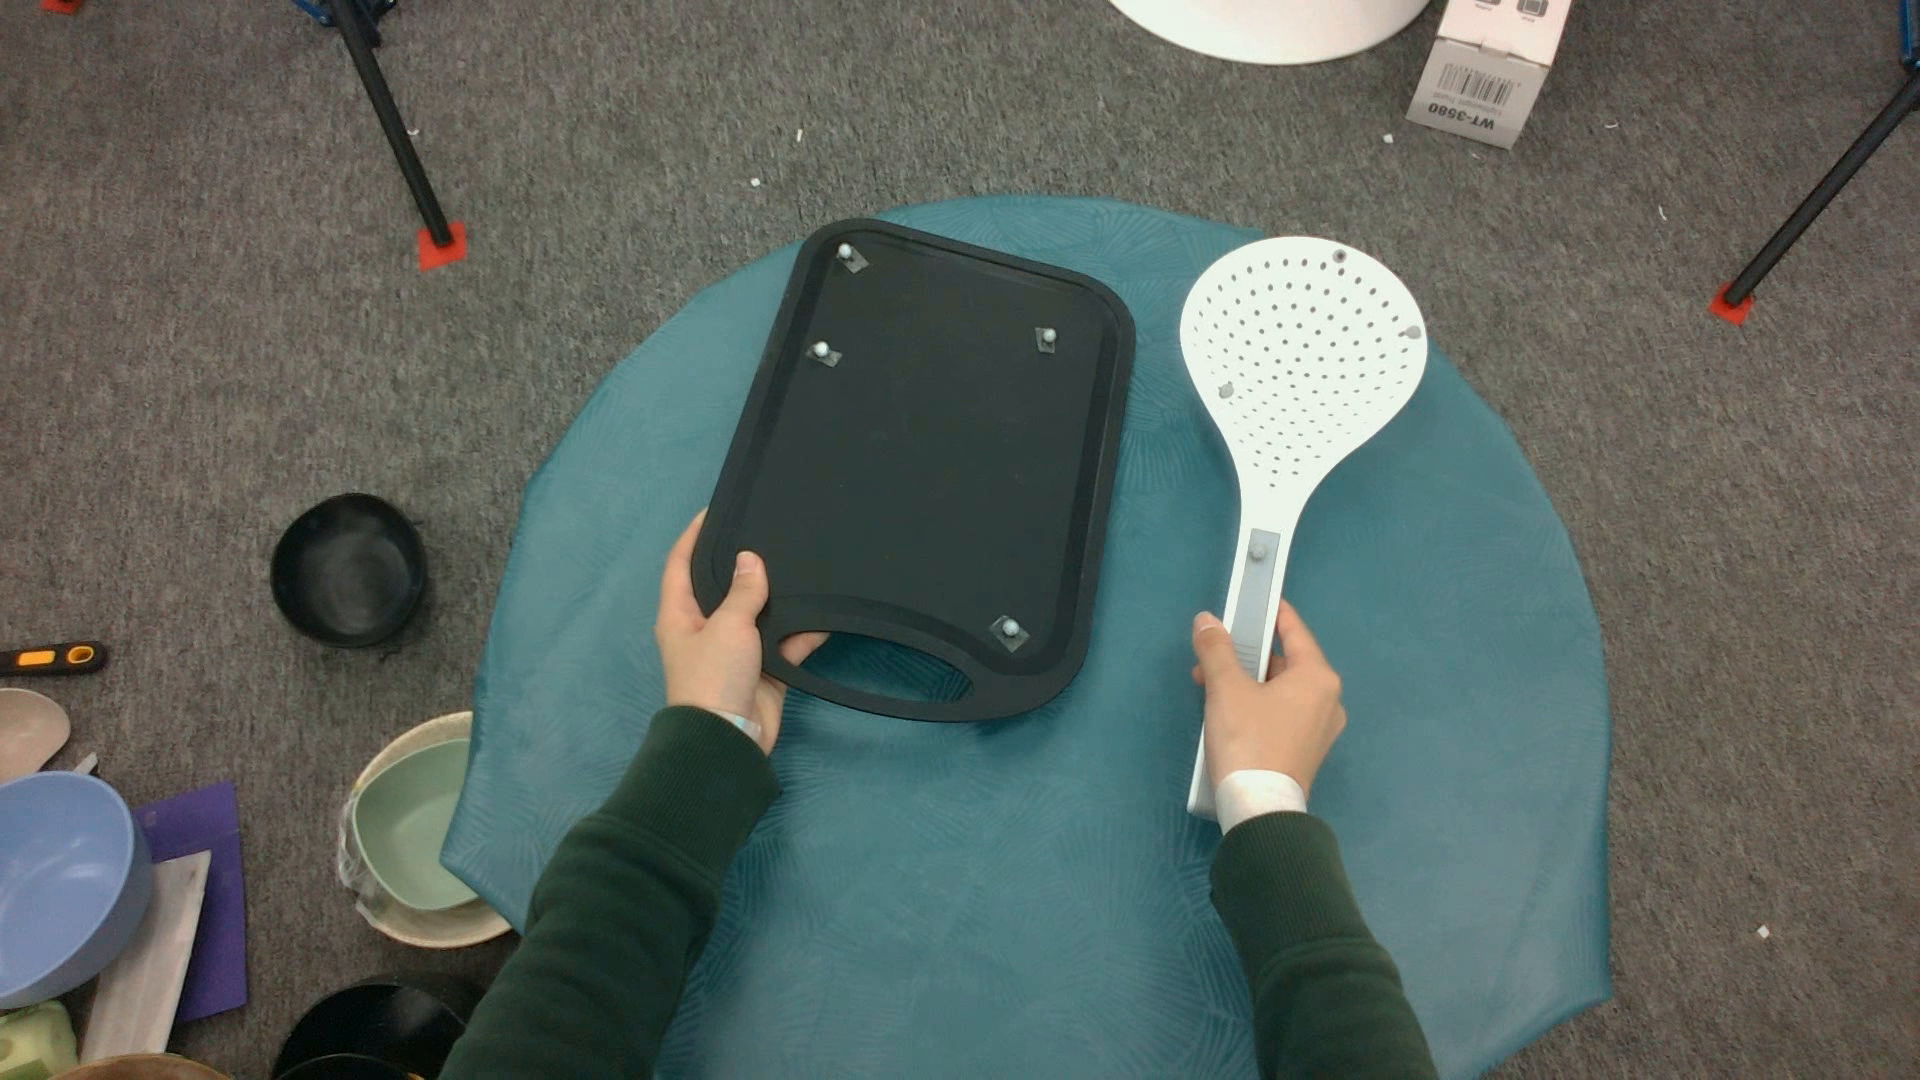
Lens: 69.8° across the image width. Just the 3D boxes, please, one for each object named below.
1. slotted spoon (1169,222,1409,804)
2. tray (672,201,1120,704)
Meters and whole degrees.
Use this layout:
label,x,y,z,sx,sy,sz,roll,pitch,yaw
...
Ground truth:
label,x,y,z,sx,sy,sz,roll,pitch,yaw
slotted spoon,0.160,-0.027,0.743,0.136,0.045,0.351,12,61,8
tray,-0.025,-0.059,0.758,0.211,0.010,0.327,14,57,-3
